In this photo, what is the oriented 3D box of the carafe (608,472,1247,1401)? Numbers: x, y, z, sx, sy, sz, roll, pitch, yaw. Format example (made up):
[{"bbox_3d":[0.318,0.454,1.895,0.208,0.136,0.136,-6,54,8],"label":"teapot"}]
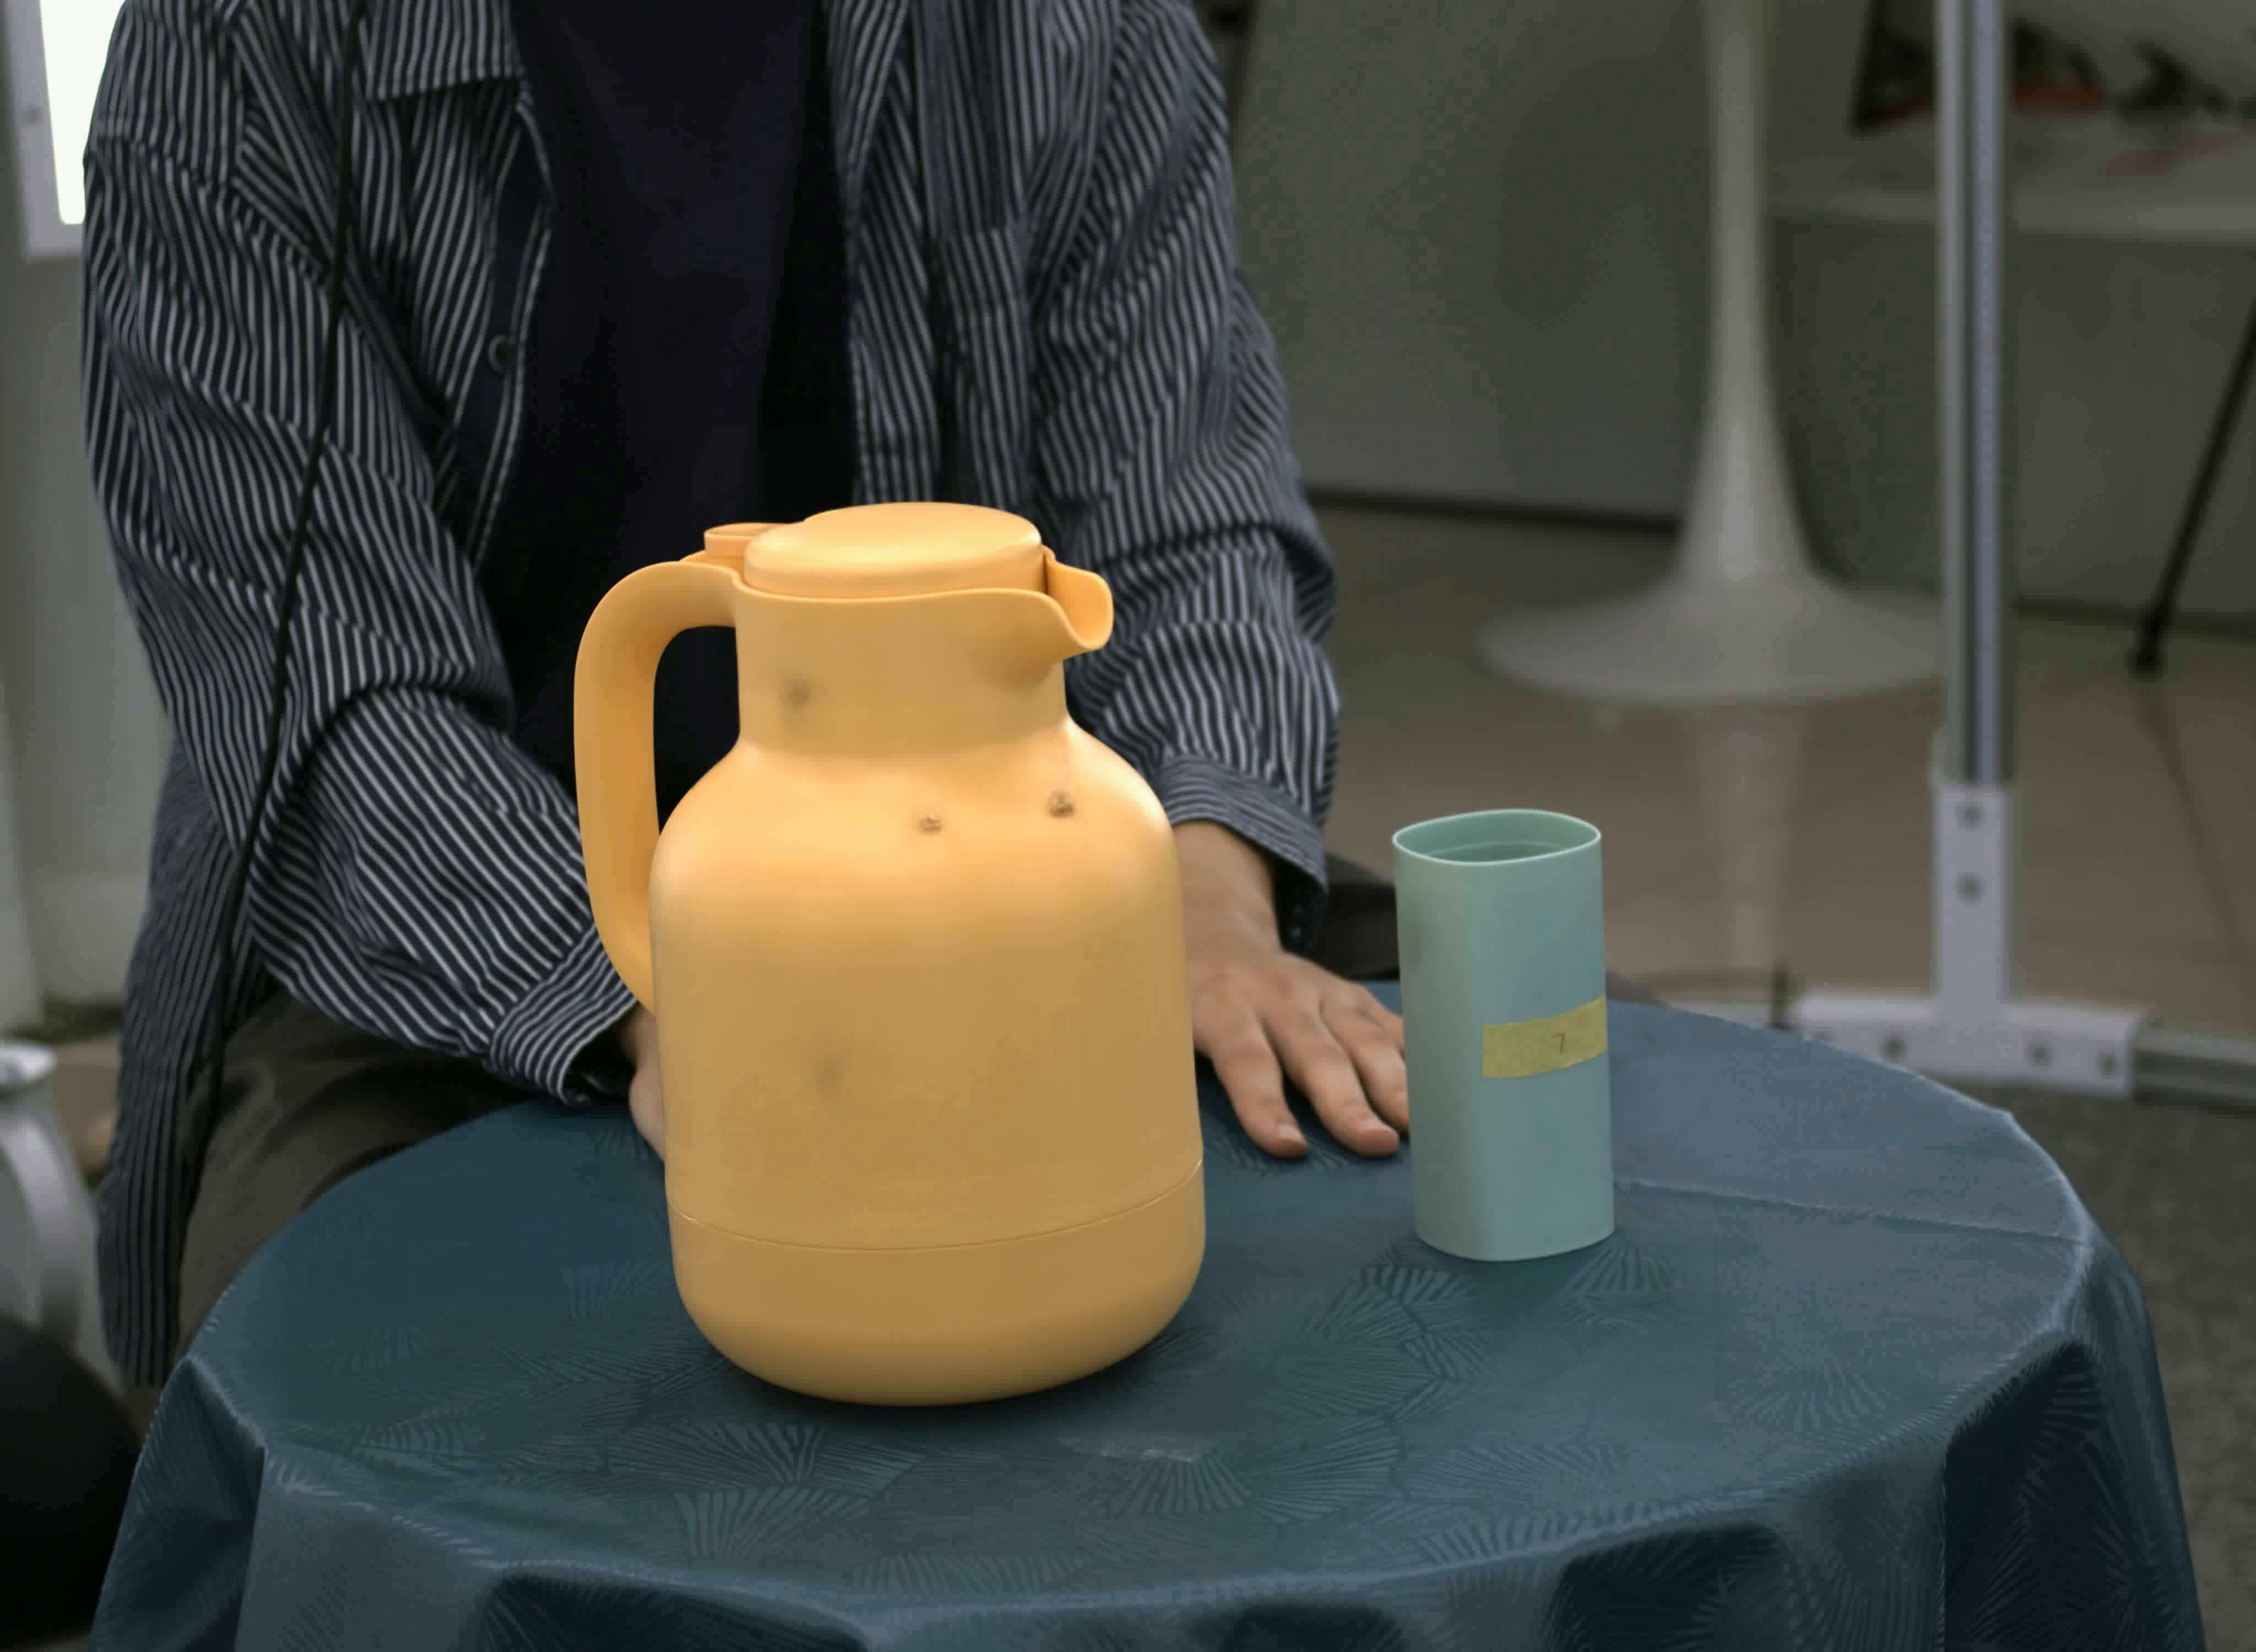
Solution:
[{"bbox_3d":[-0.064,0.027,1.616,0.203,0.263,0.160,6,16,33],"label":"carafe"}]

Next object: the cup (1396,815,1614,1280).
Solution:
[{"bbox_3d":[0.118,0.068,1.688,0.066,0.134,0.067,-3,14,0],"label":"cup"}]
